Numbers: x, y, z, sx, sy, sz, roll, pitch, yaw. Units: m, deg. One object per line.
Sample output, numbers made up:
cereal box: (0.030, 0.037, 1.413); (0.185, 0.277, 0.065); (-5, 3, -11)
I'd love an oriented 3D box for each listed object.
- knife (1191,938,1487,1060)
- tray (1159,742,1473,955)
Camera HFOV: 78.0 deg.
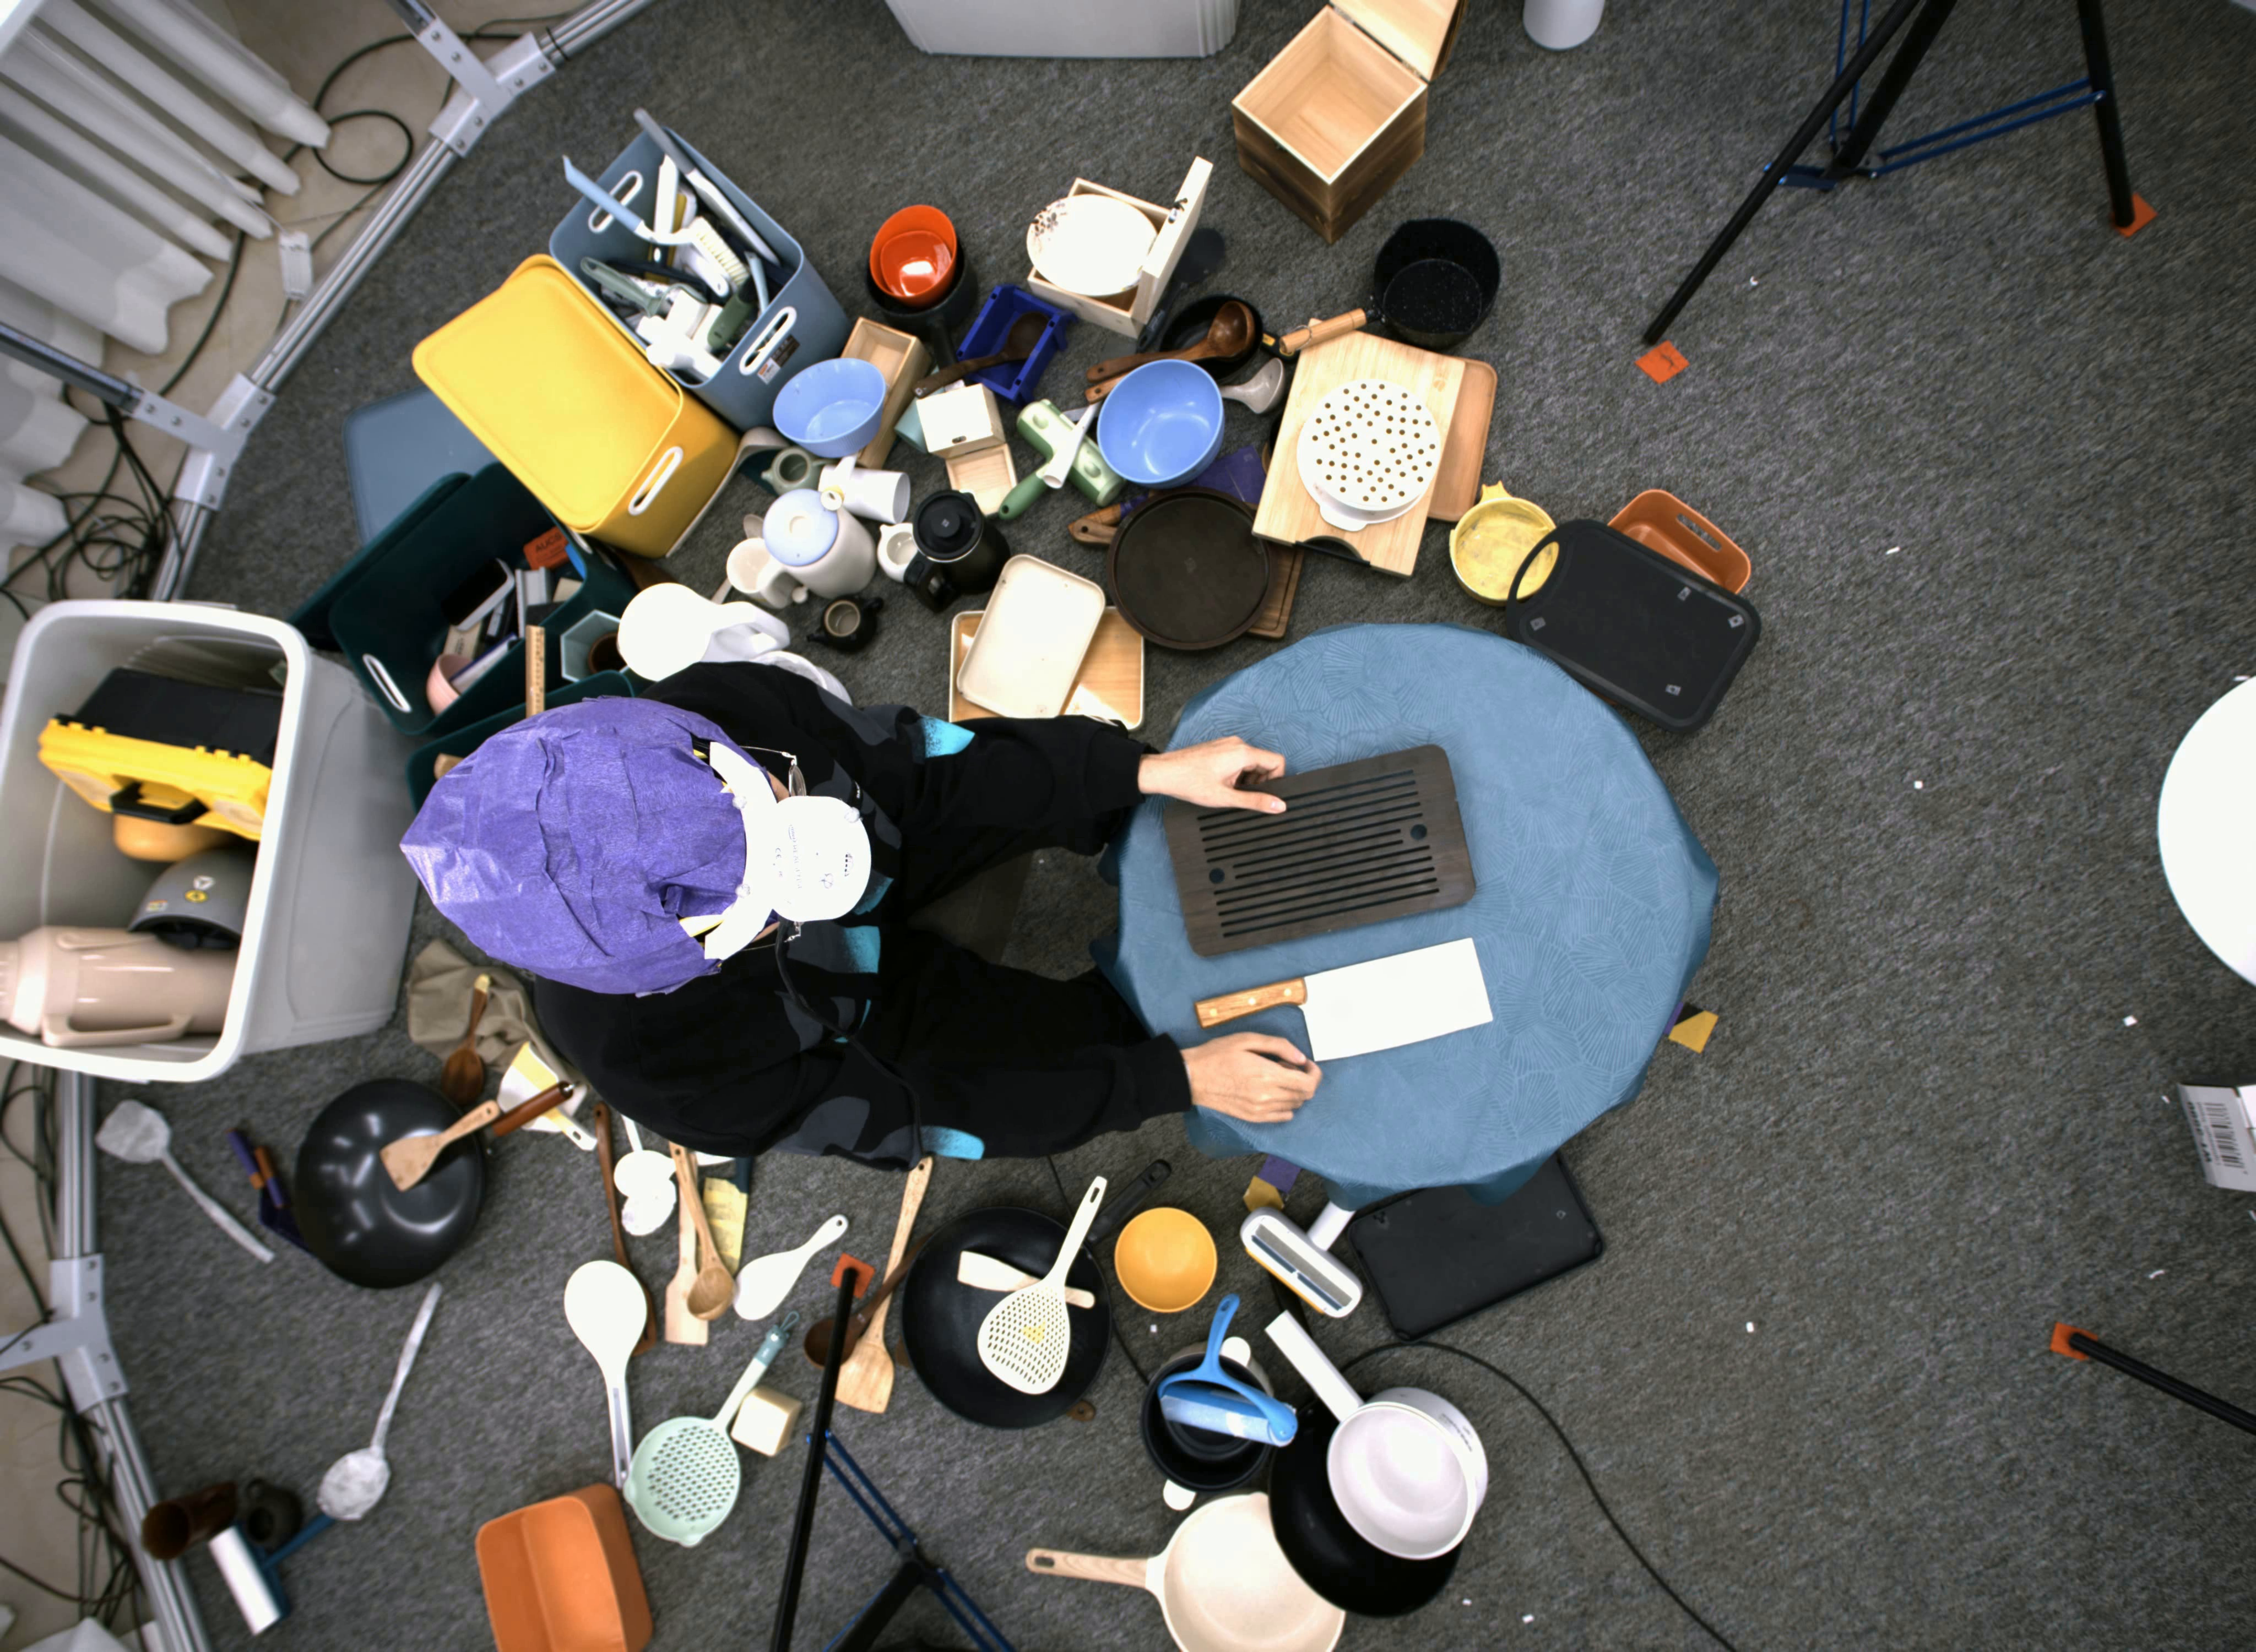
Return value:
knife: (0.222, 0.193, 1.454); (0.307, 0.021, 0.092); (-14, 86, 7)
tray: (0.196, 0.024, 1.454); (0.307, 0.018, 0.170); (-12, 94, 9)
